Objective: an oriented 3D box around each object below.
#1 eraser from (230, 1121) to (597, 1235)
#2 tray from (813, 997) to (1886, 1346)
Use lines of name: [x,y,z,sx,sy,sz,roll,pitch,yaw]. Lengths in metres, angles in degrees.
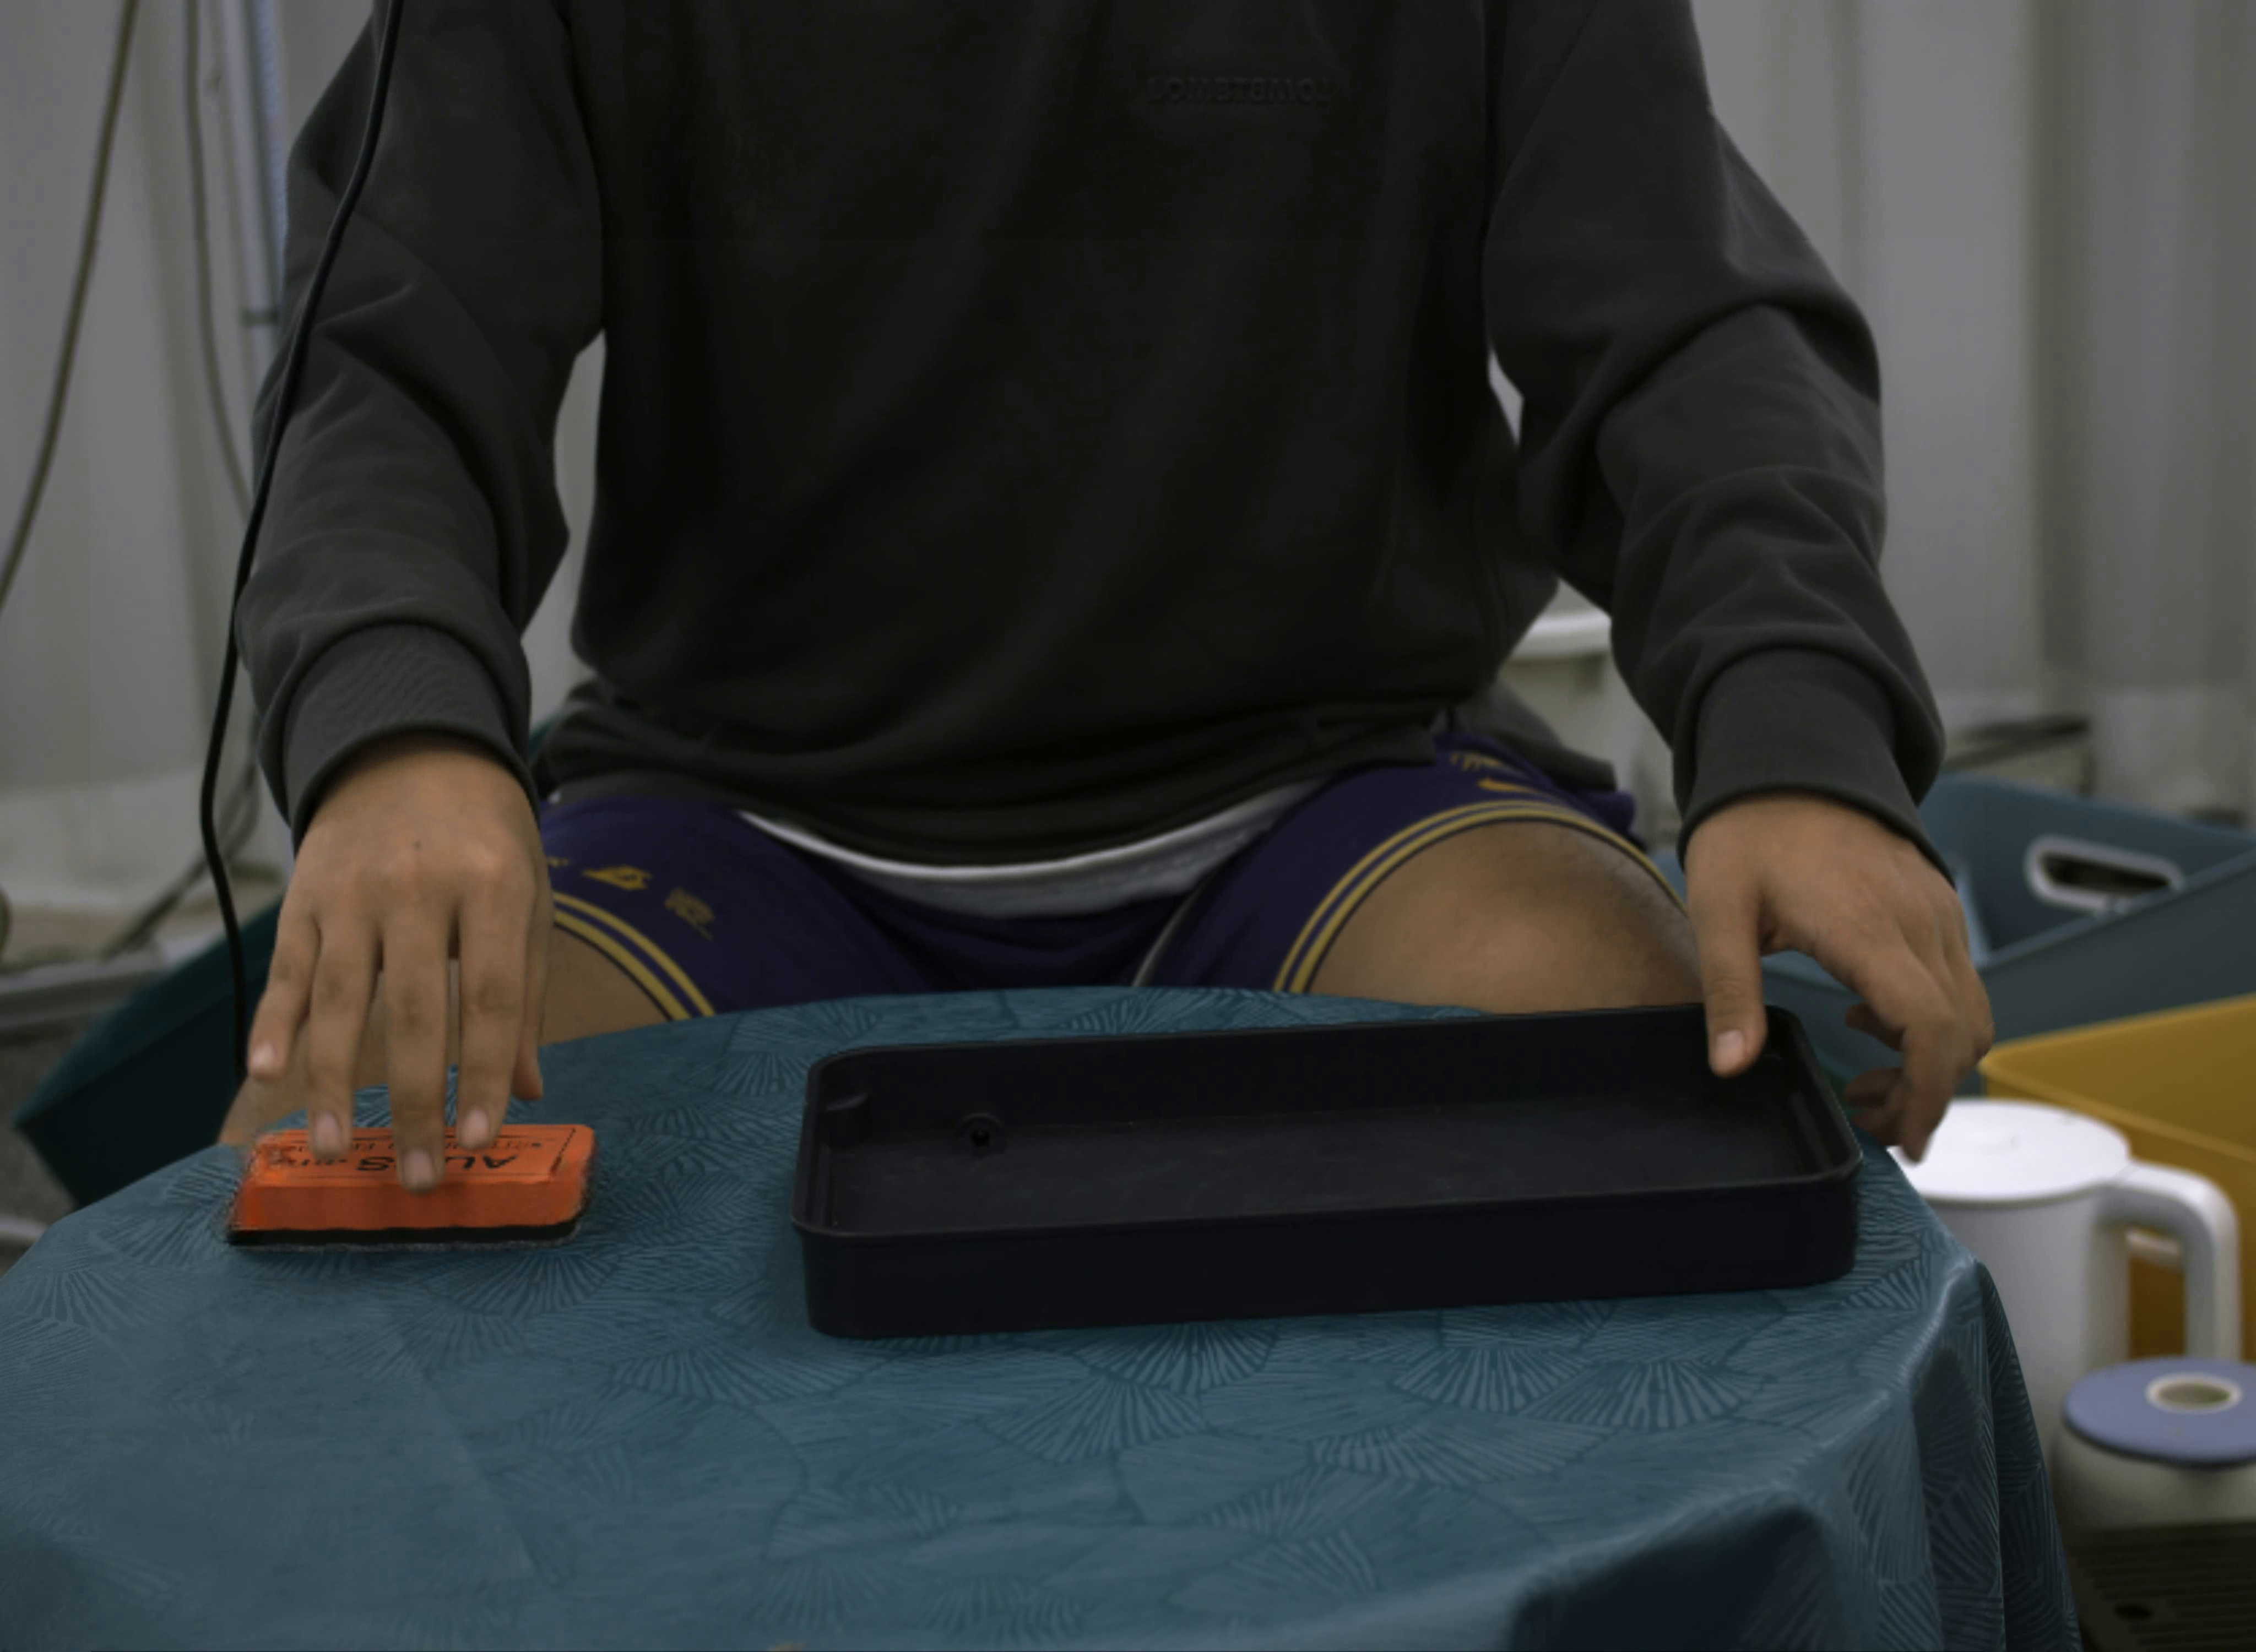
eraser: [-0.224,0.111,1.718,0.108,0.023,0.059,-3,7,6]
tray: [0.063,0.104,1.679,0.317,0.037,0.185,-4,14,-1]
